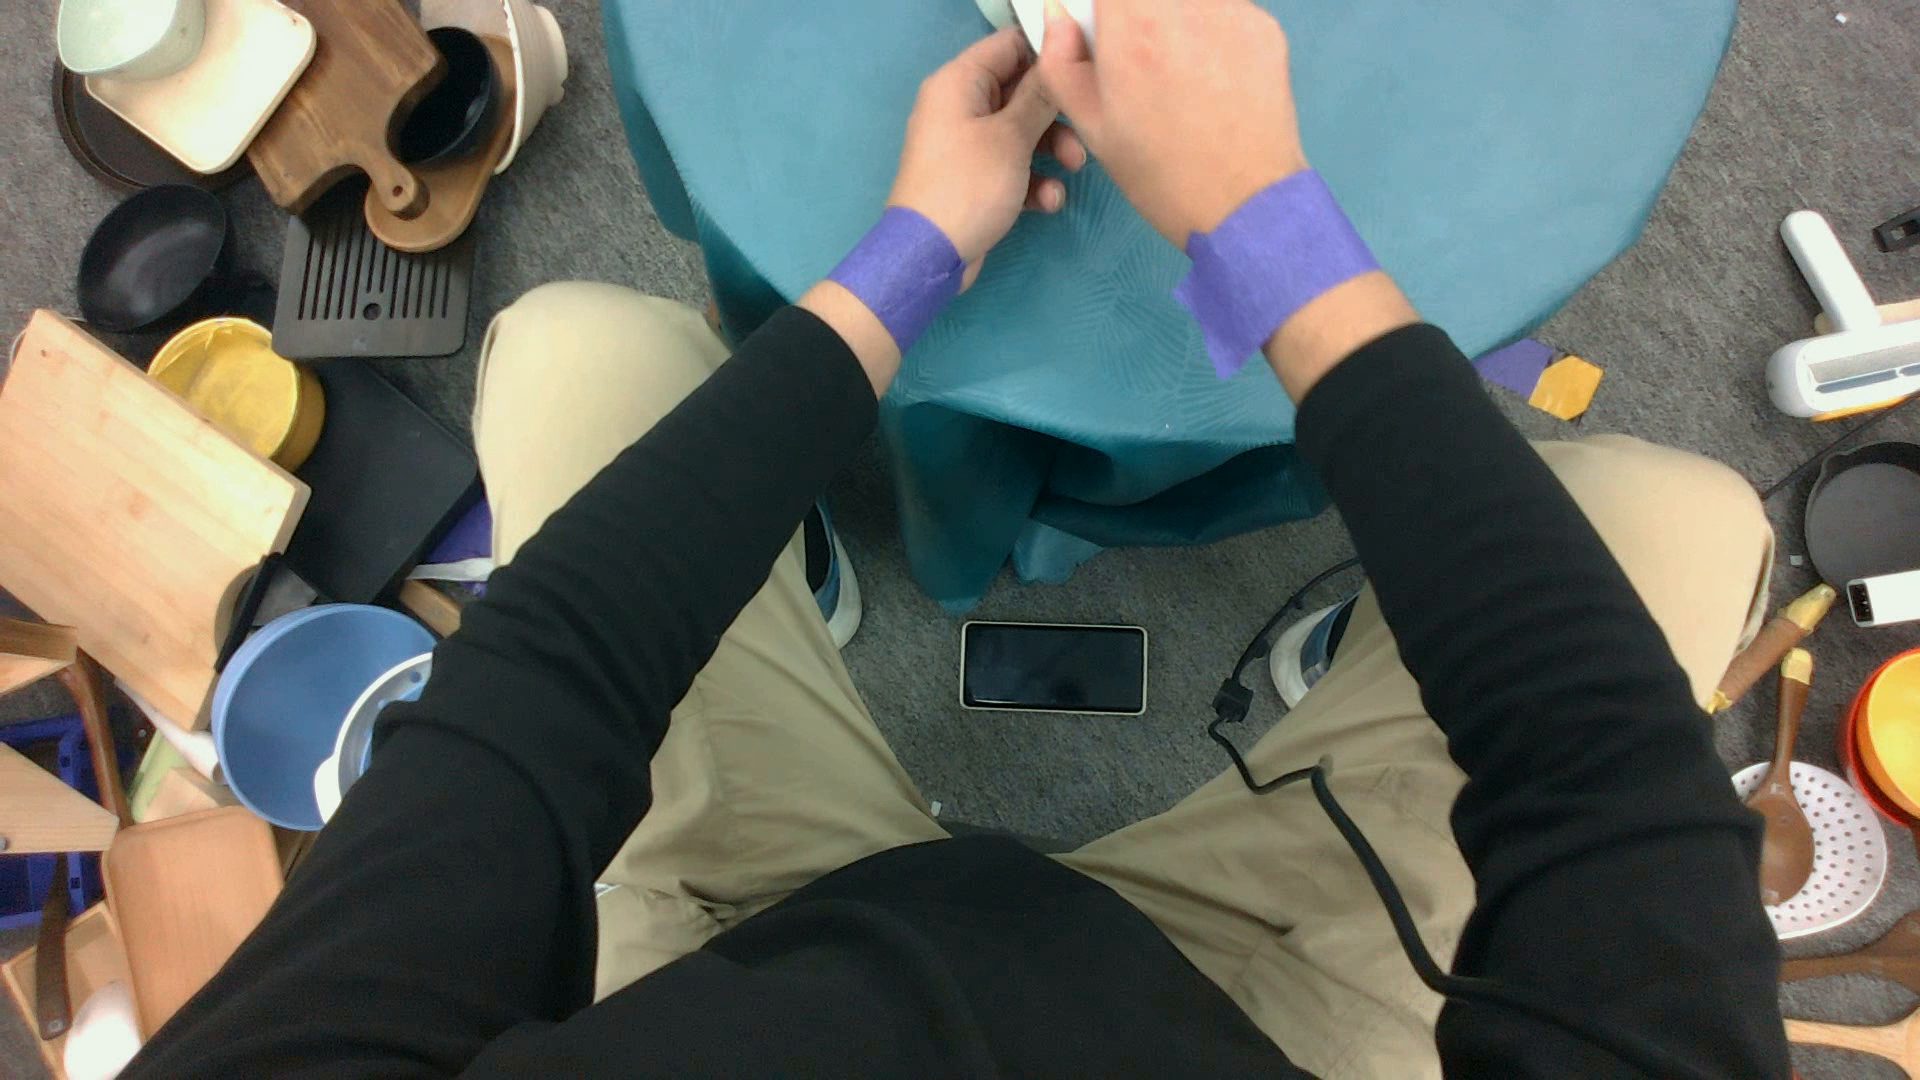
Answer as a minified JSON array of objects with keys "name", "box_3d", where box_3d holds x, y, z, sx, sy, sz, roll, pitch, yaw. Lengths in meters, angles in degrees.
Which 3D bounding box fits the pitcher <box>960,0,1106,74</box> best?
[{"name":"pitcher","box_3d":[0.039,-0.288,0.699,0.086,0.060,0.108,-10,86,2]}]

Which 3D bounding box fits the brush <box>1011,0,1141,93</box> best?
[{"name":"brush","box_3d":[0.051,-0.245,0.601,0.050,0.072,0.099,-21,111,-3]}]
